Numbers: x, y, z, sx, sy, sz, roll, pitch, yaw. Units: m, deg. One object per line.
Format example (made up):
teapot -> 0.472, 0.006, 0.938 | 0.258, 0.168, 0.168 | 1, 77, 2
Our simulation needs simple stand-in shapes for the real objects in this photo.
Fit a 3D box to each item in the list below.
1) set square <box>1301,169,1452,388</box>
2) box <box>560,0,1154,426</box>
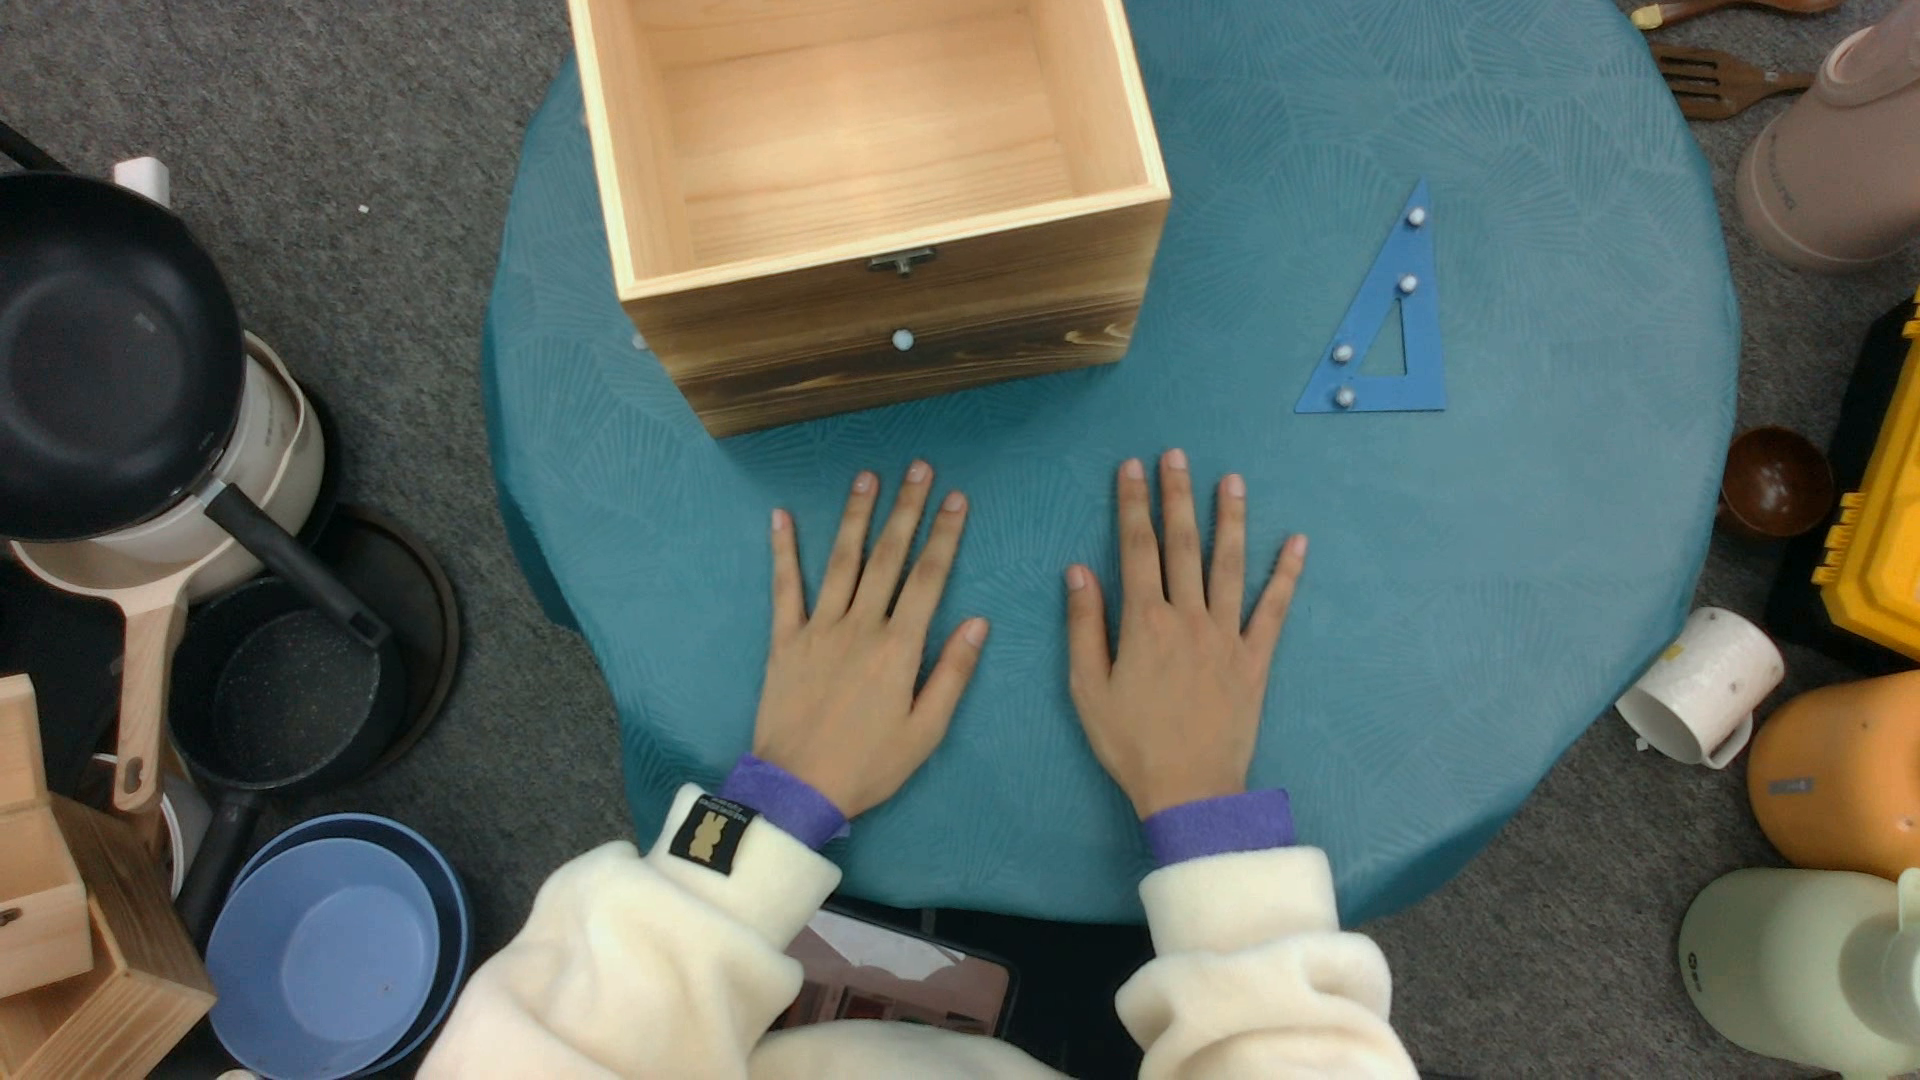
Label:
set square -> 0.221, -0.118, 0.664 | 0.061, 0.006, 0.132 | 32, 79, 9
box -> -0.060, -0.256, 0.516 | 0.209, 0.374, 0.322 | -12, 77, -2
